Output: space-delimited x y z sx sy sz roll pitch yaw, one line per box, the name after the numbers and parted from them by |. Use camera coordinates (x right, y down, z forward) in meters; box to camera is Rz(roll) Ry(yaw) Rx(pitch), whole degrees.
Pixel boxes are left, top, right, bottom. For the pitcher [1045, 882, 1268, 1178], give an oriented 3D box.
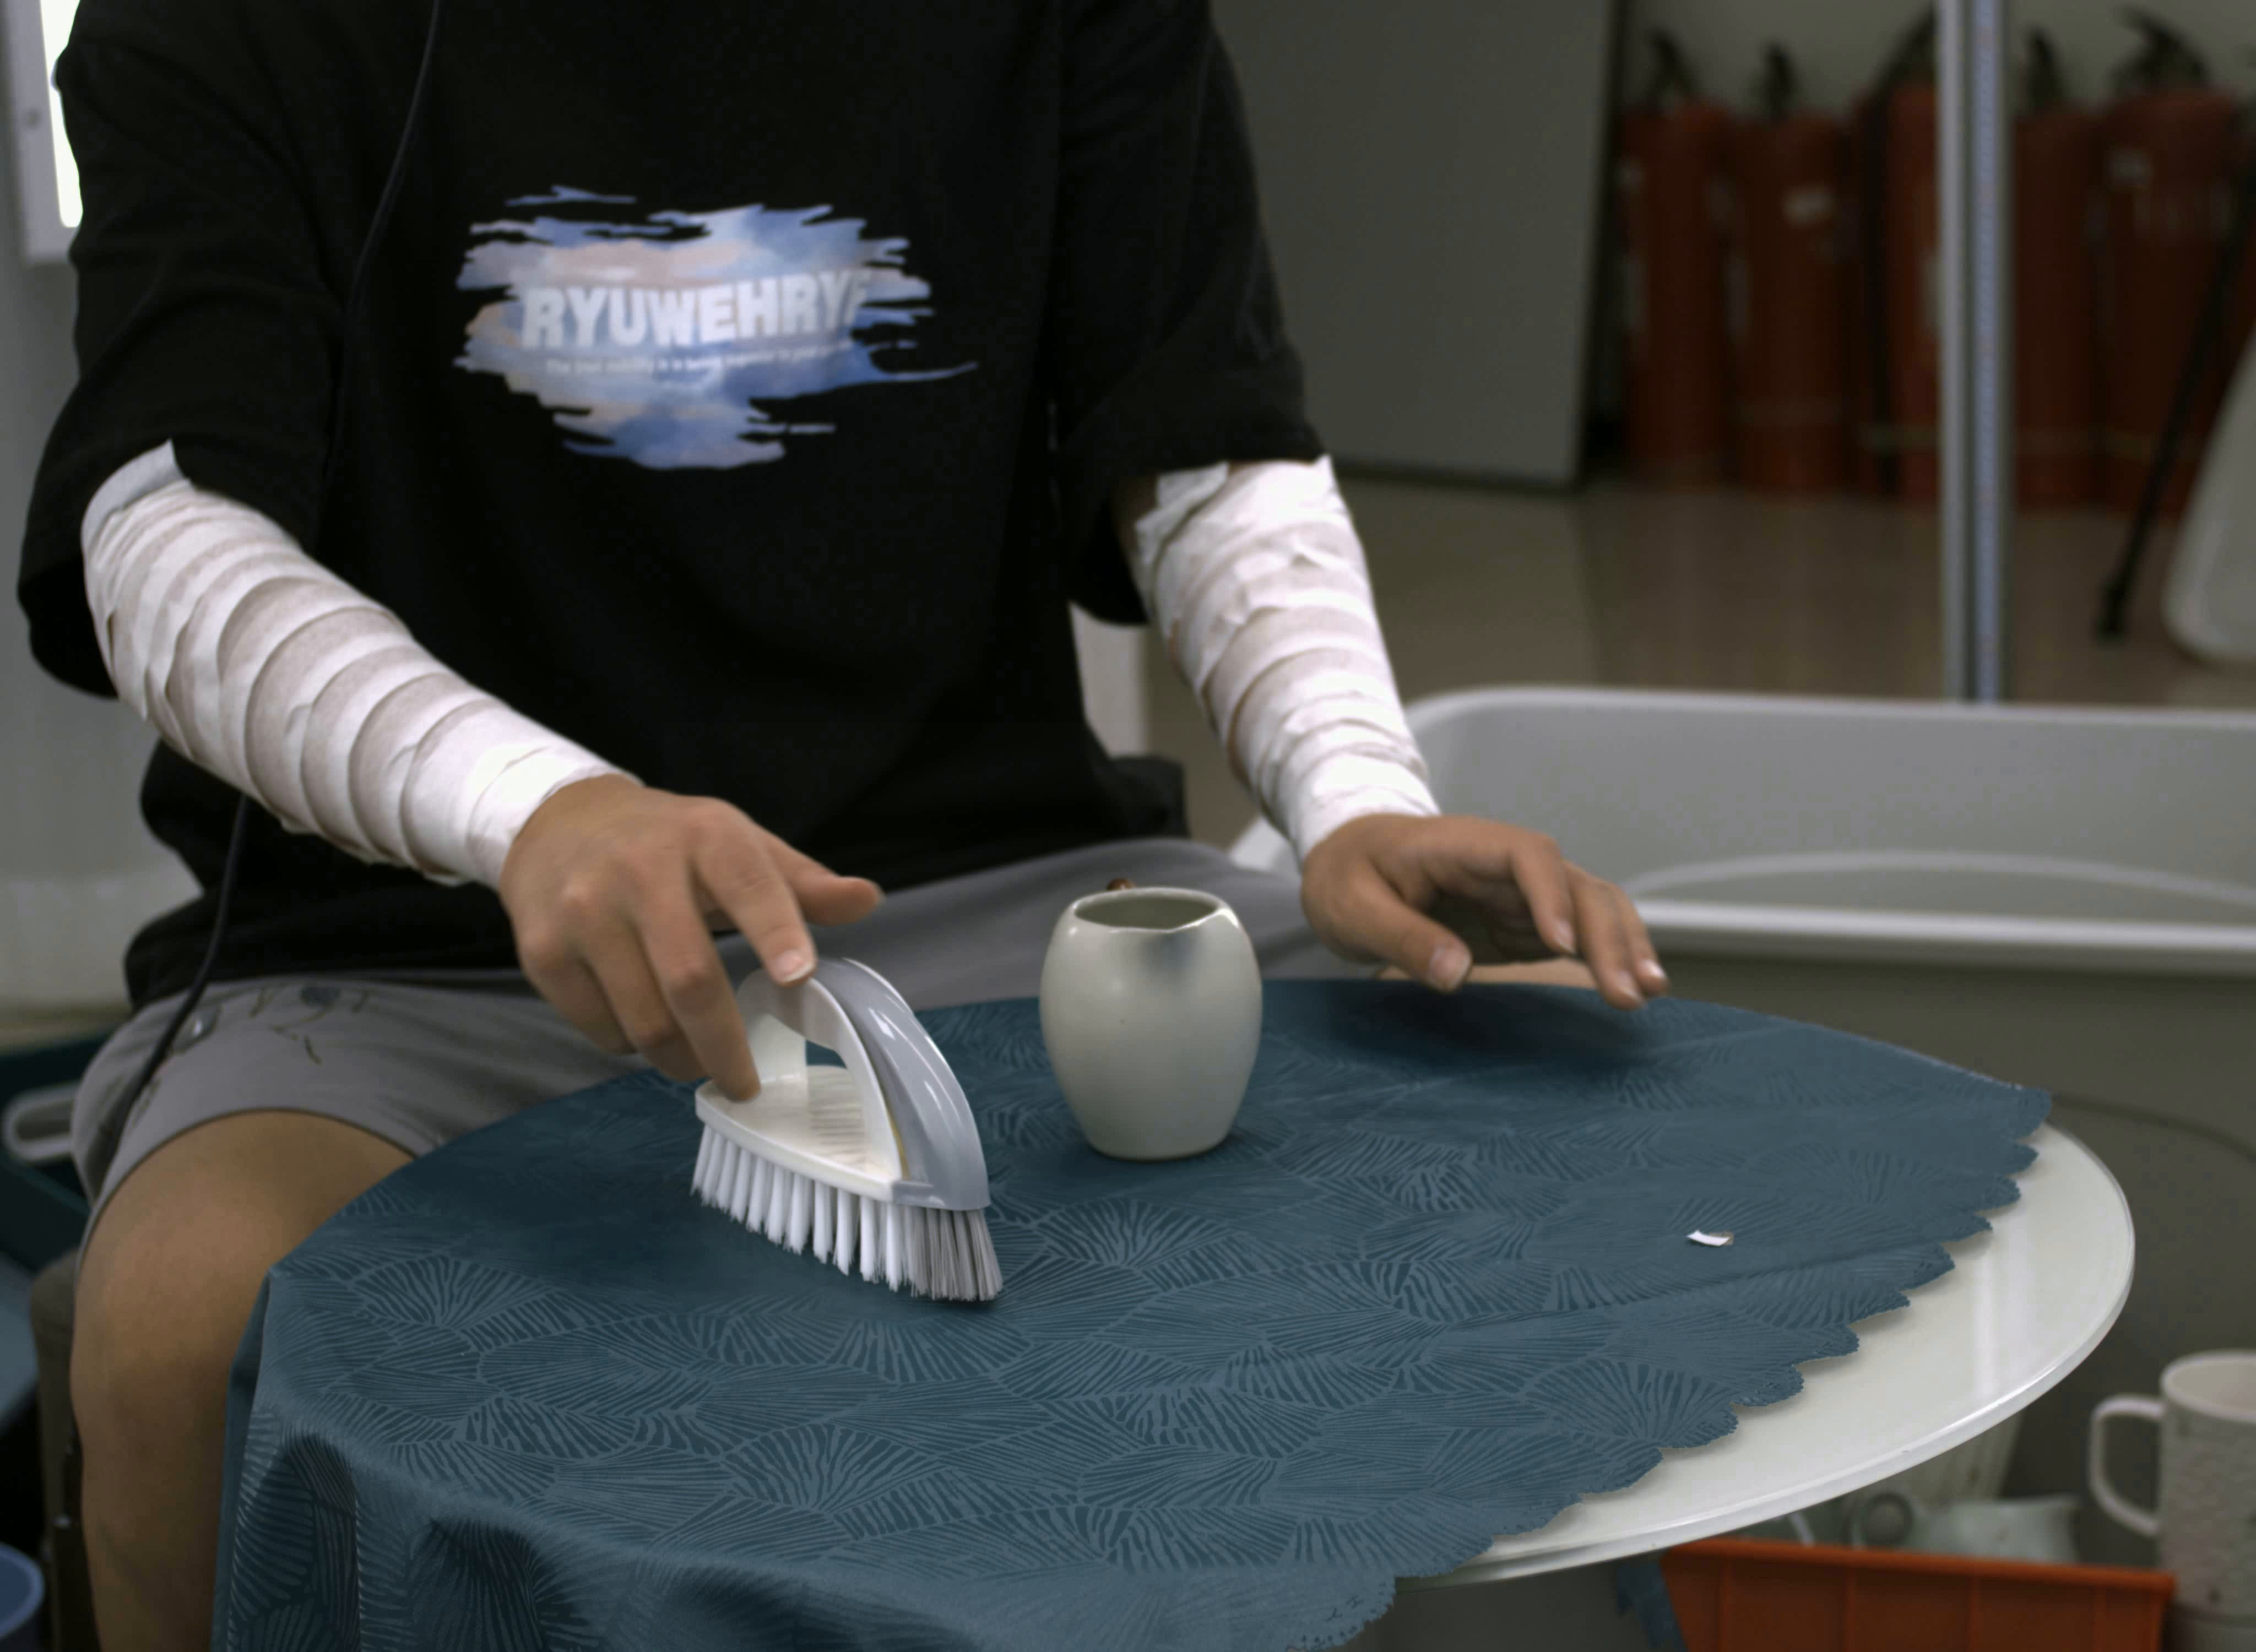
0.009 0.067 1.811 0.074 0.089 0.119 -1 14 -5 | pitcher

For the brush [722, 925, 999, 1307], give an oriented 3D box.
-0.081 0.088 1.733 0.060 0.095 0.177 -10 19 -21 | brush
